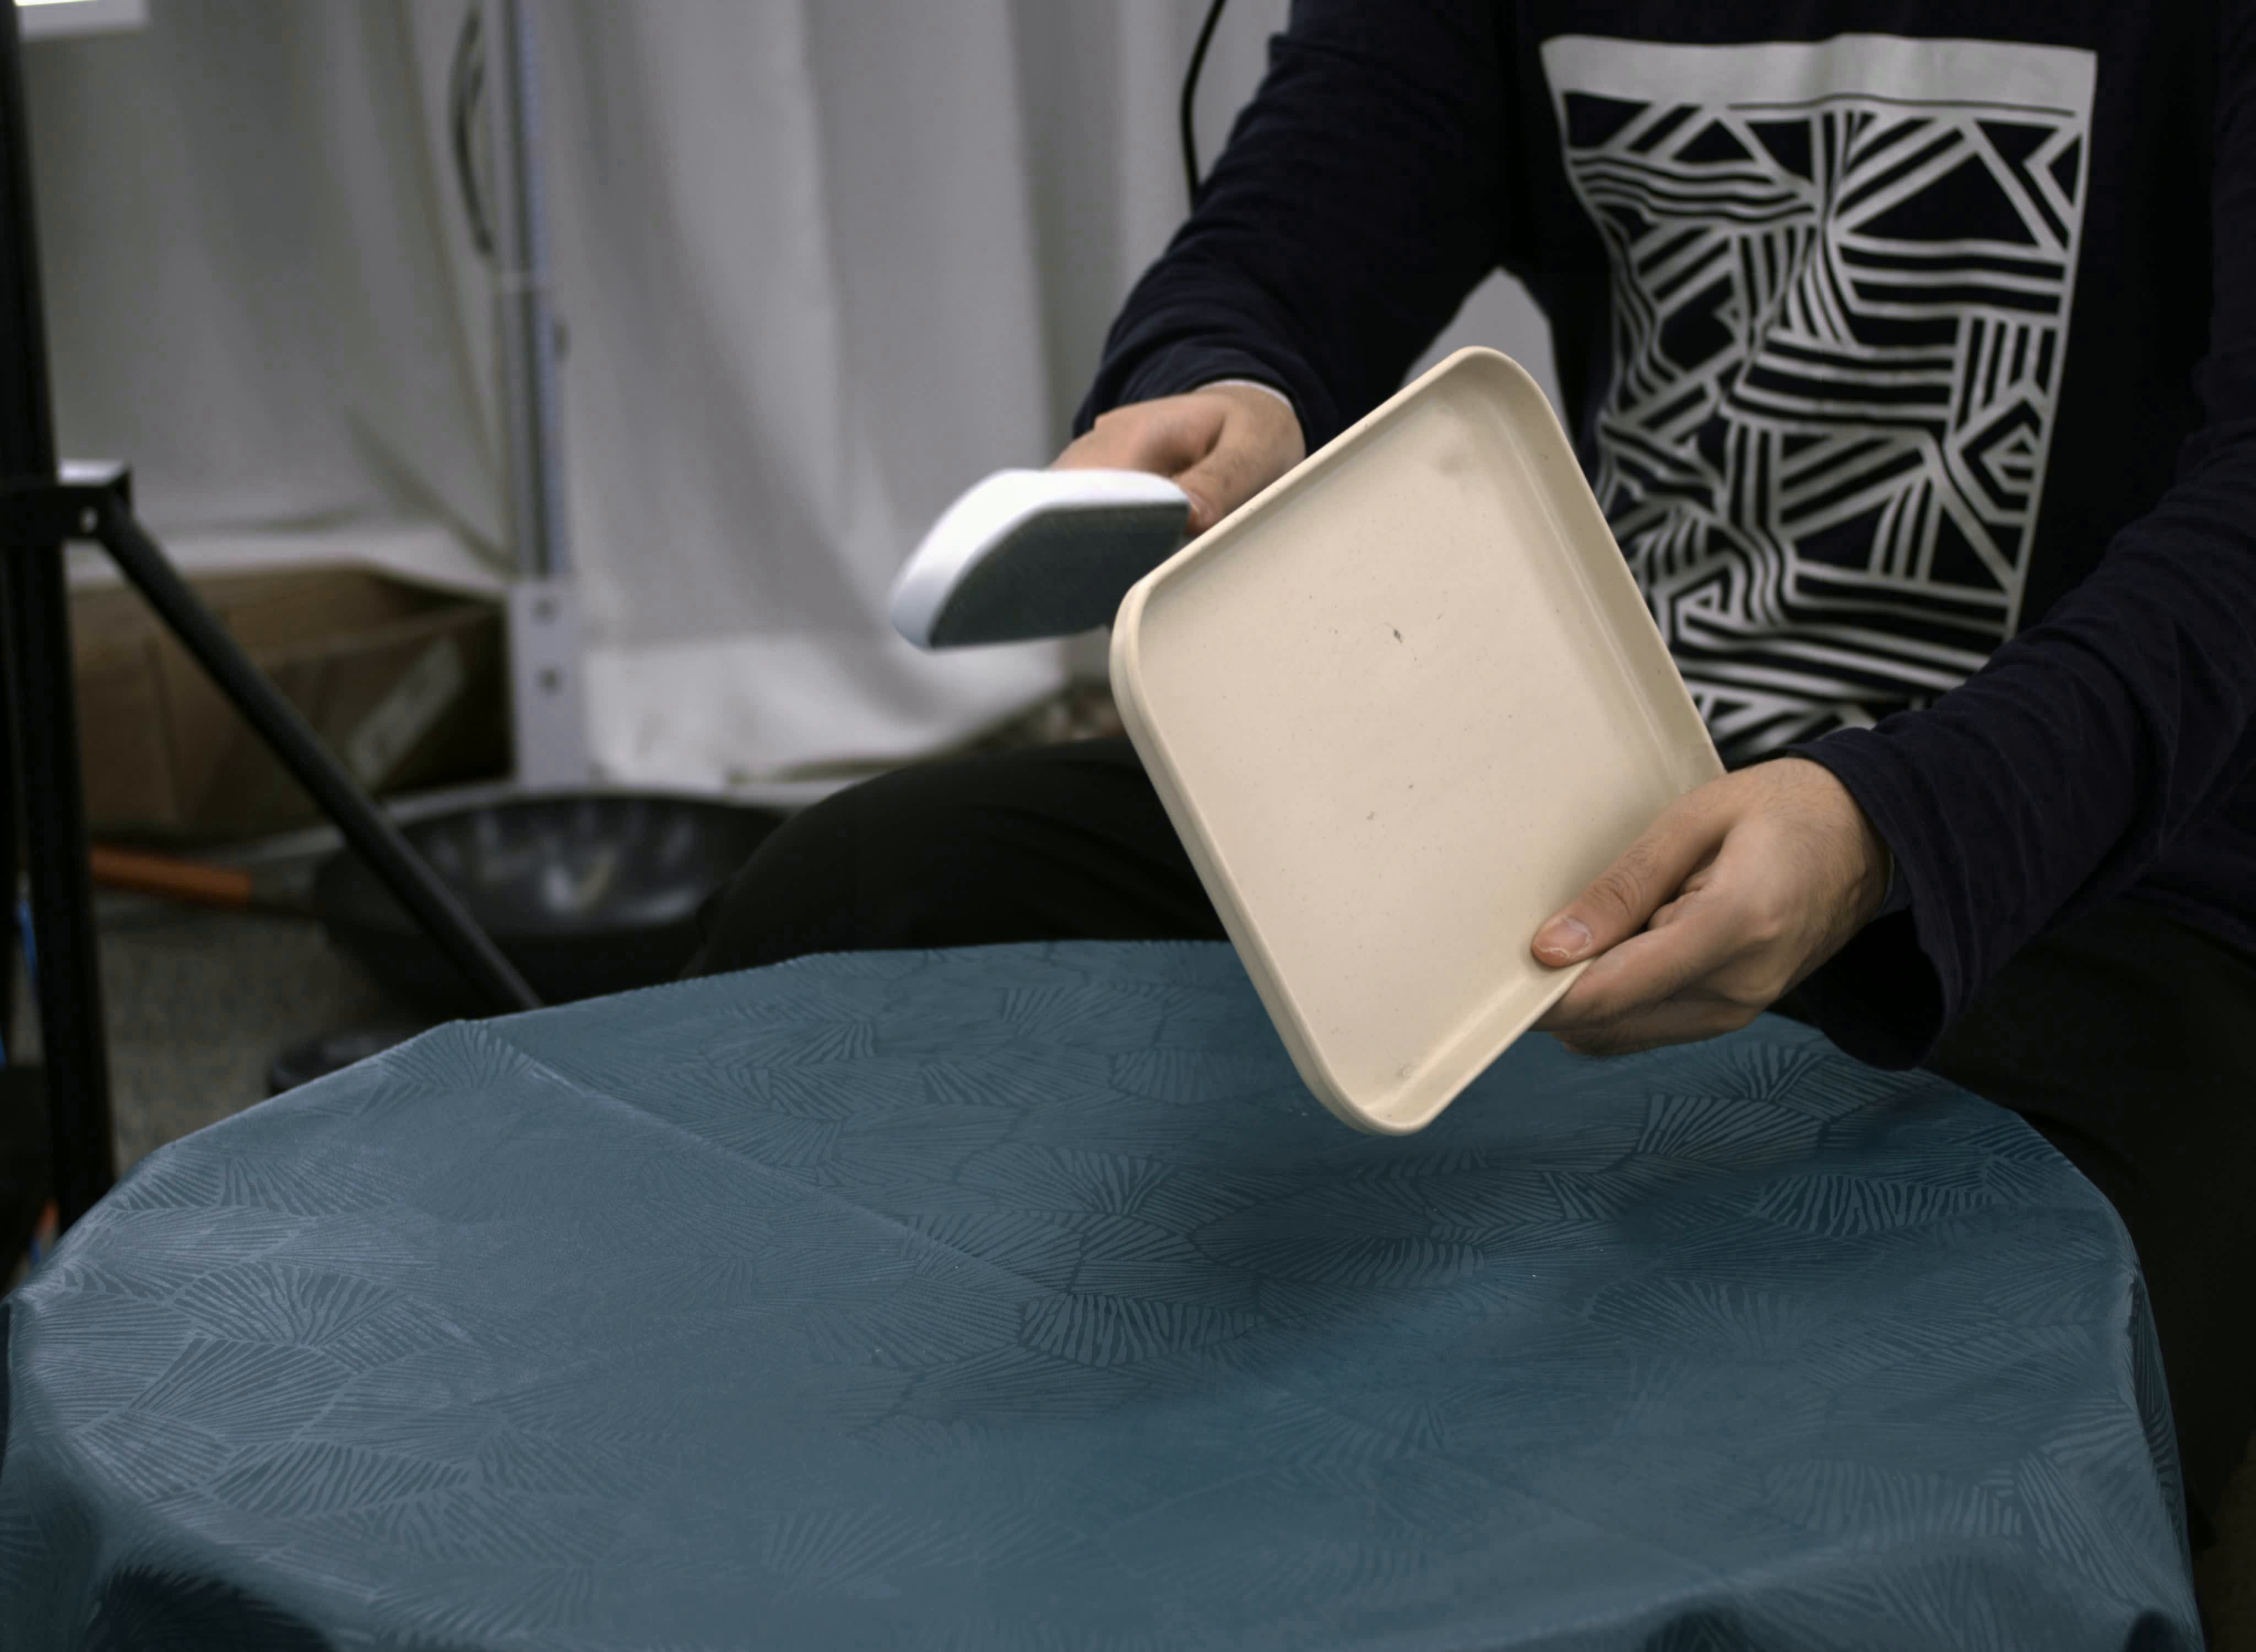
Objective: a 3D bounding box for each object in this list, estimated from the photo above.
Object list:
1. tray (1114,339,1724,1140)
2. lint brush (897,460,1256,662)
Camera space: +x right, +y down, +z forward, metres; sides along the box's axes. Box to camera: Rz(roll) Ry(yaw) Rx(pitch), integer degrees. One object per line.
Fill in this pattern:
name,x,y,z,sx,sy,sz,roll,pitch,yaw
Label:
tray,0.085,-0.027,1.495,0.018,0.171,0.236,-21,11,39
lint brush,-0.003,-0.082,1.593,0.021,0.060,0.304,37,14,11
